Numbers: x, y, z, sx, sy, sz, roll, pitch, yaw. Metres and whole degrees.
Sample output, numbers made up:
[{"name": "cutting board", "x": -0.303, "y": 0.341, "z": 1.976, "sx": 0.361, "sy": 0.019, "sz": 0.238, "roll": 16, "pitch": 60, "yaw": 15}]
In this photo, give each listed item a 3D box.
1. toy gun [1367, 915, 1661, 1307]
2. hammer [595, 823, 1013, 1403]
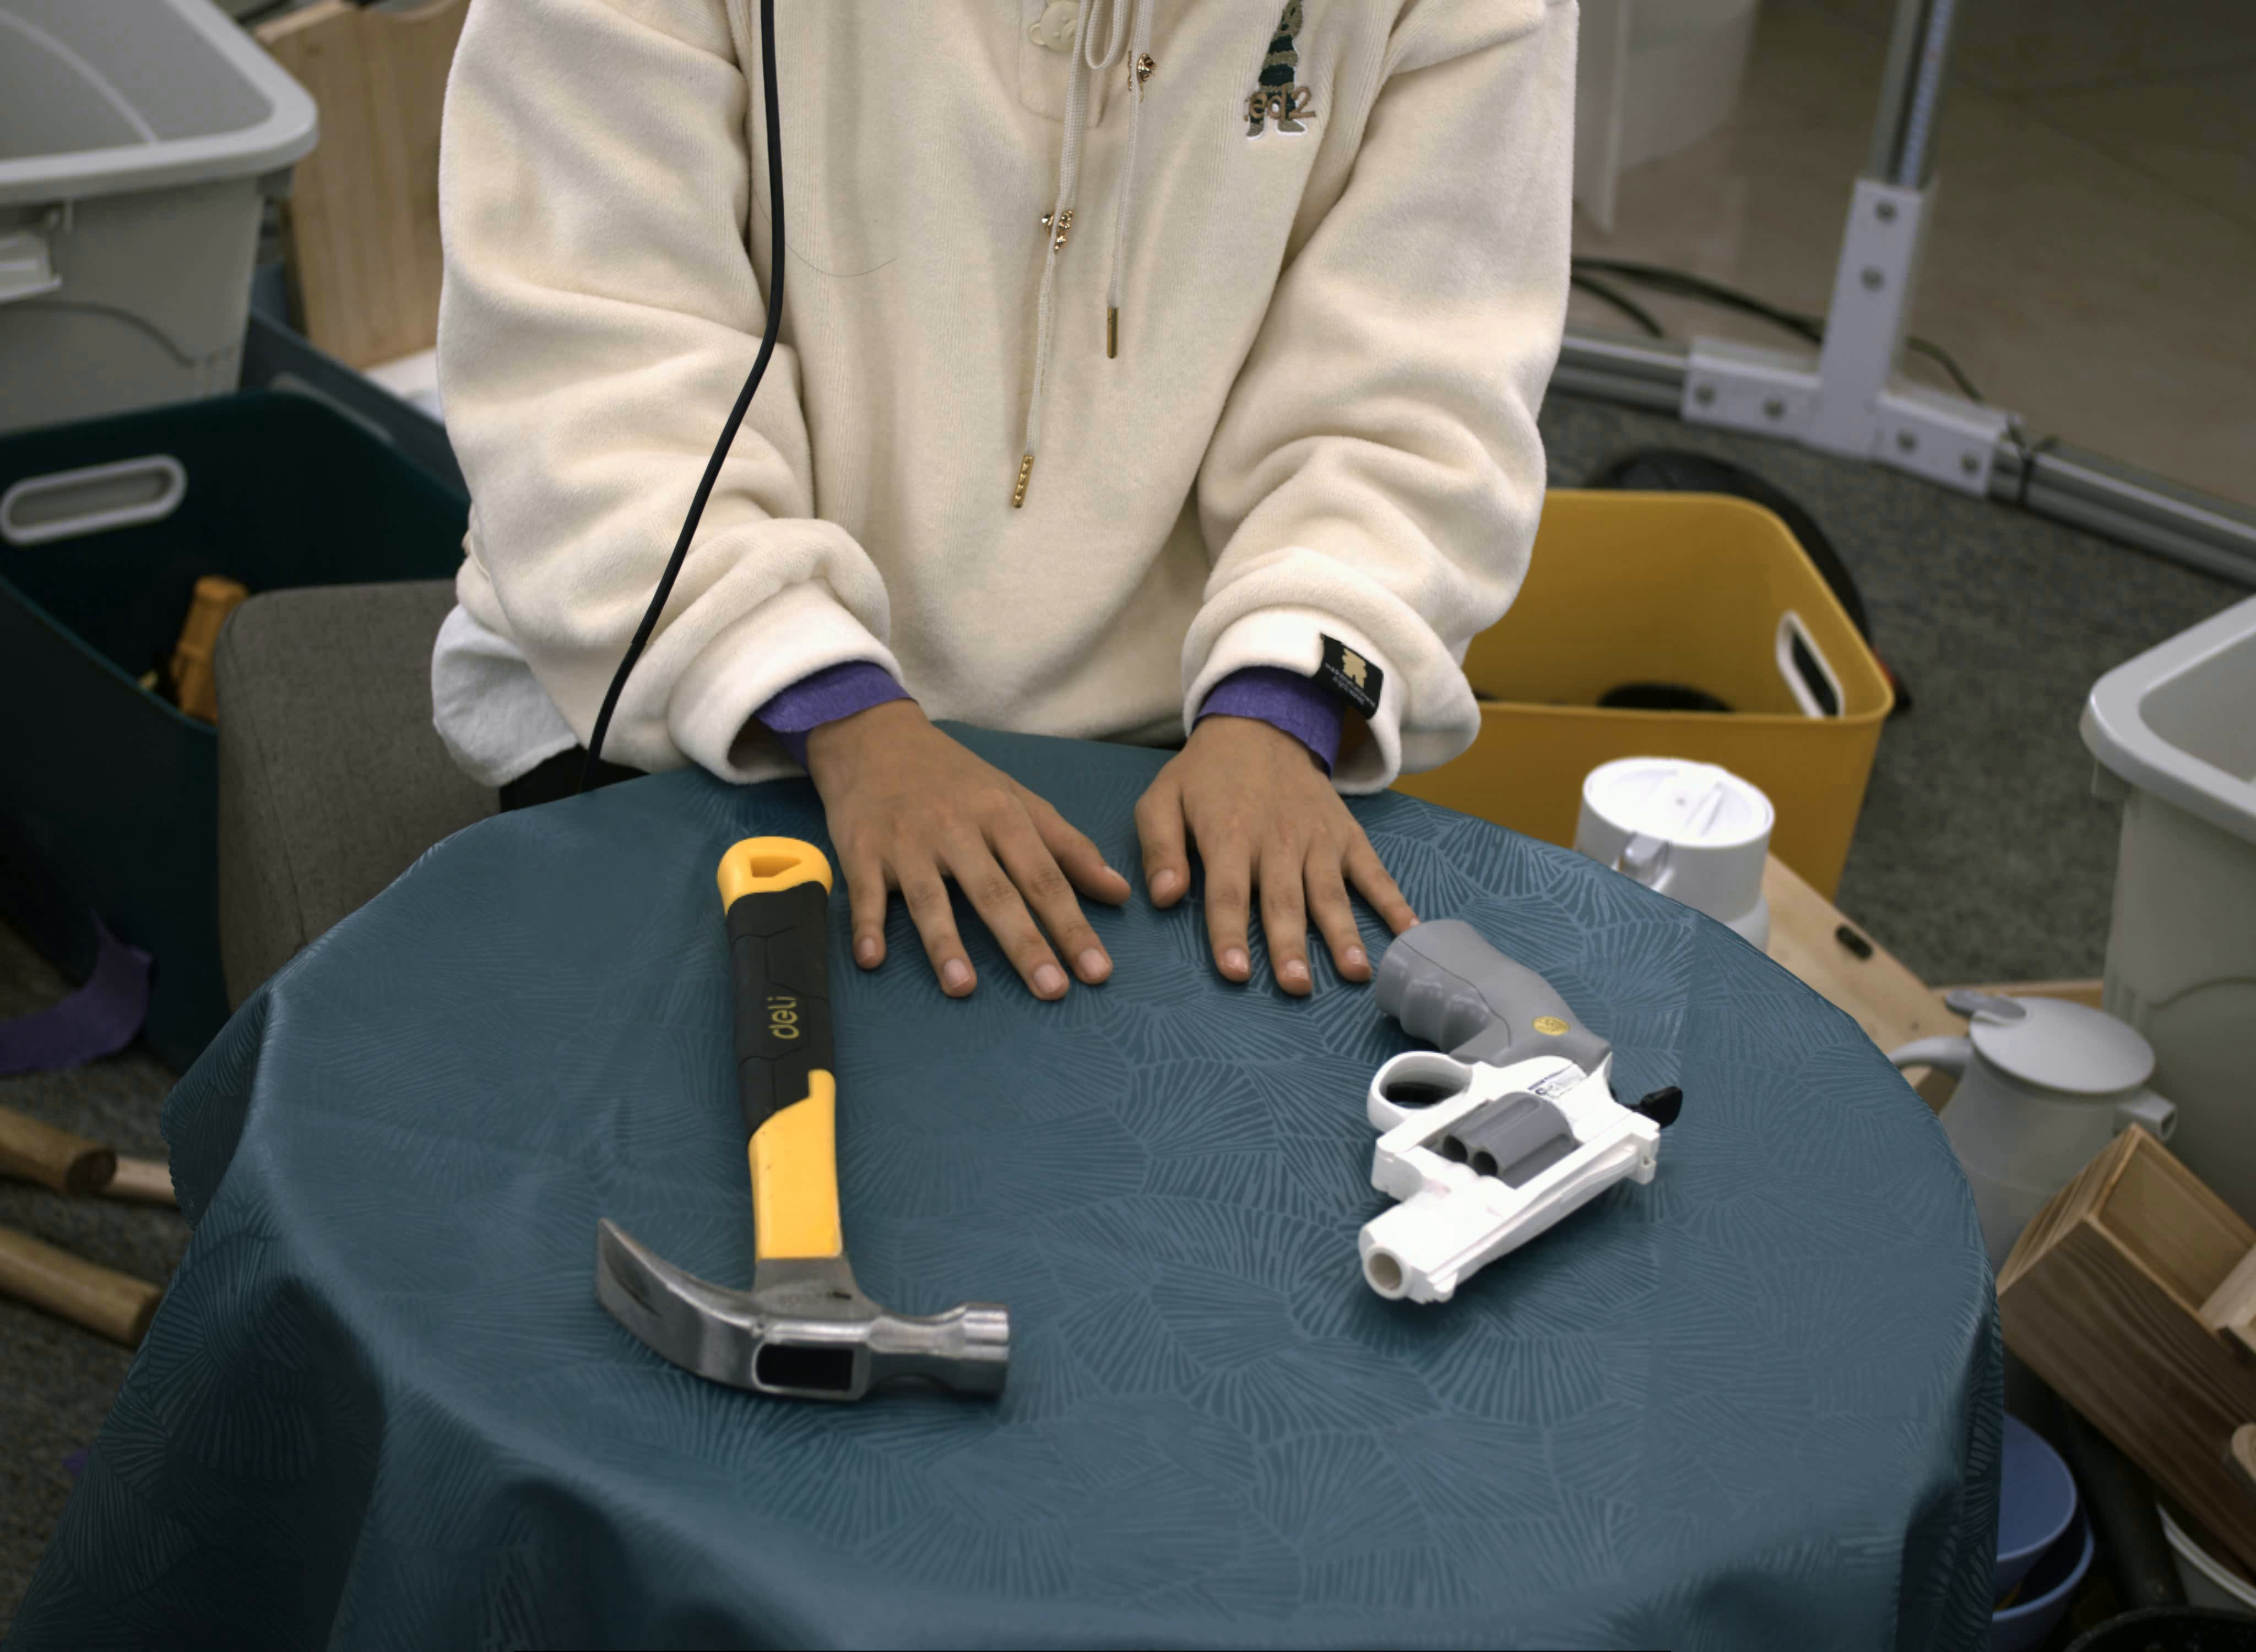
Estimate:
[{"name": "toy gun", "x": 0.110, "y": 0.097, "z": 1.835, "sx": 0.142, "sy": 0.038, "sz": 0.208, "roll": 24, "pitch": 32, "yaw": 29}, {"name": "hammer", "x": -0.115, "y": 0.088, "z": 1.806, "sx": 0.131, "sy": 0.032, "sz": 0.341, "roll": 1, "pitch": 28, "yaw": -6}]
